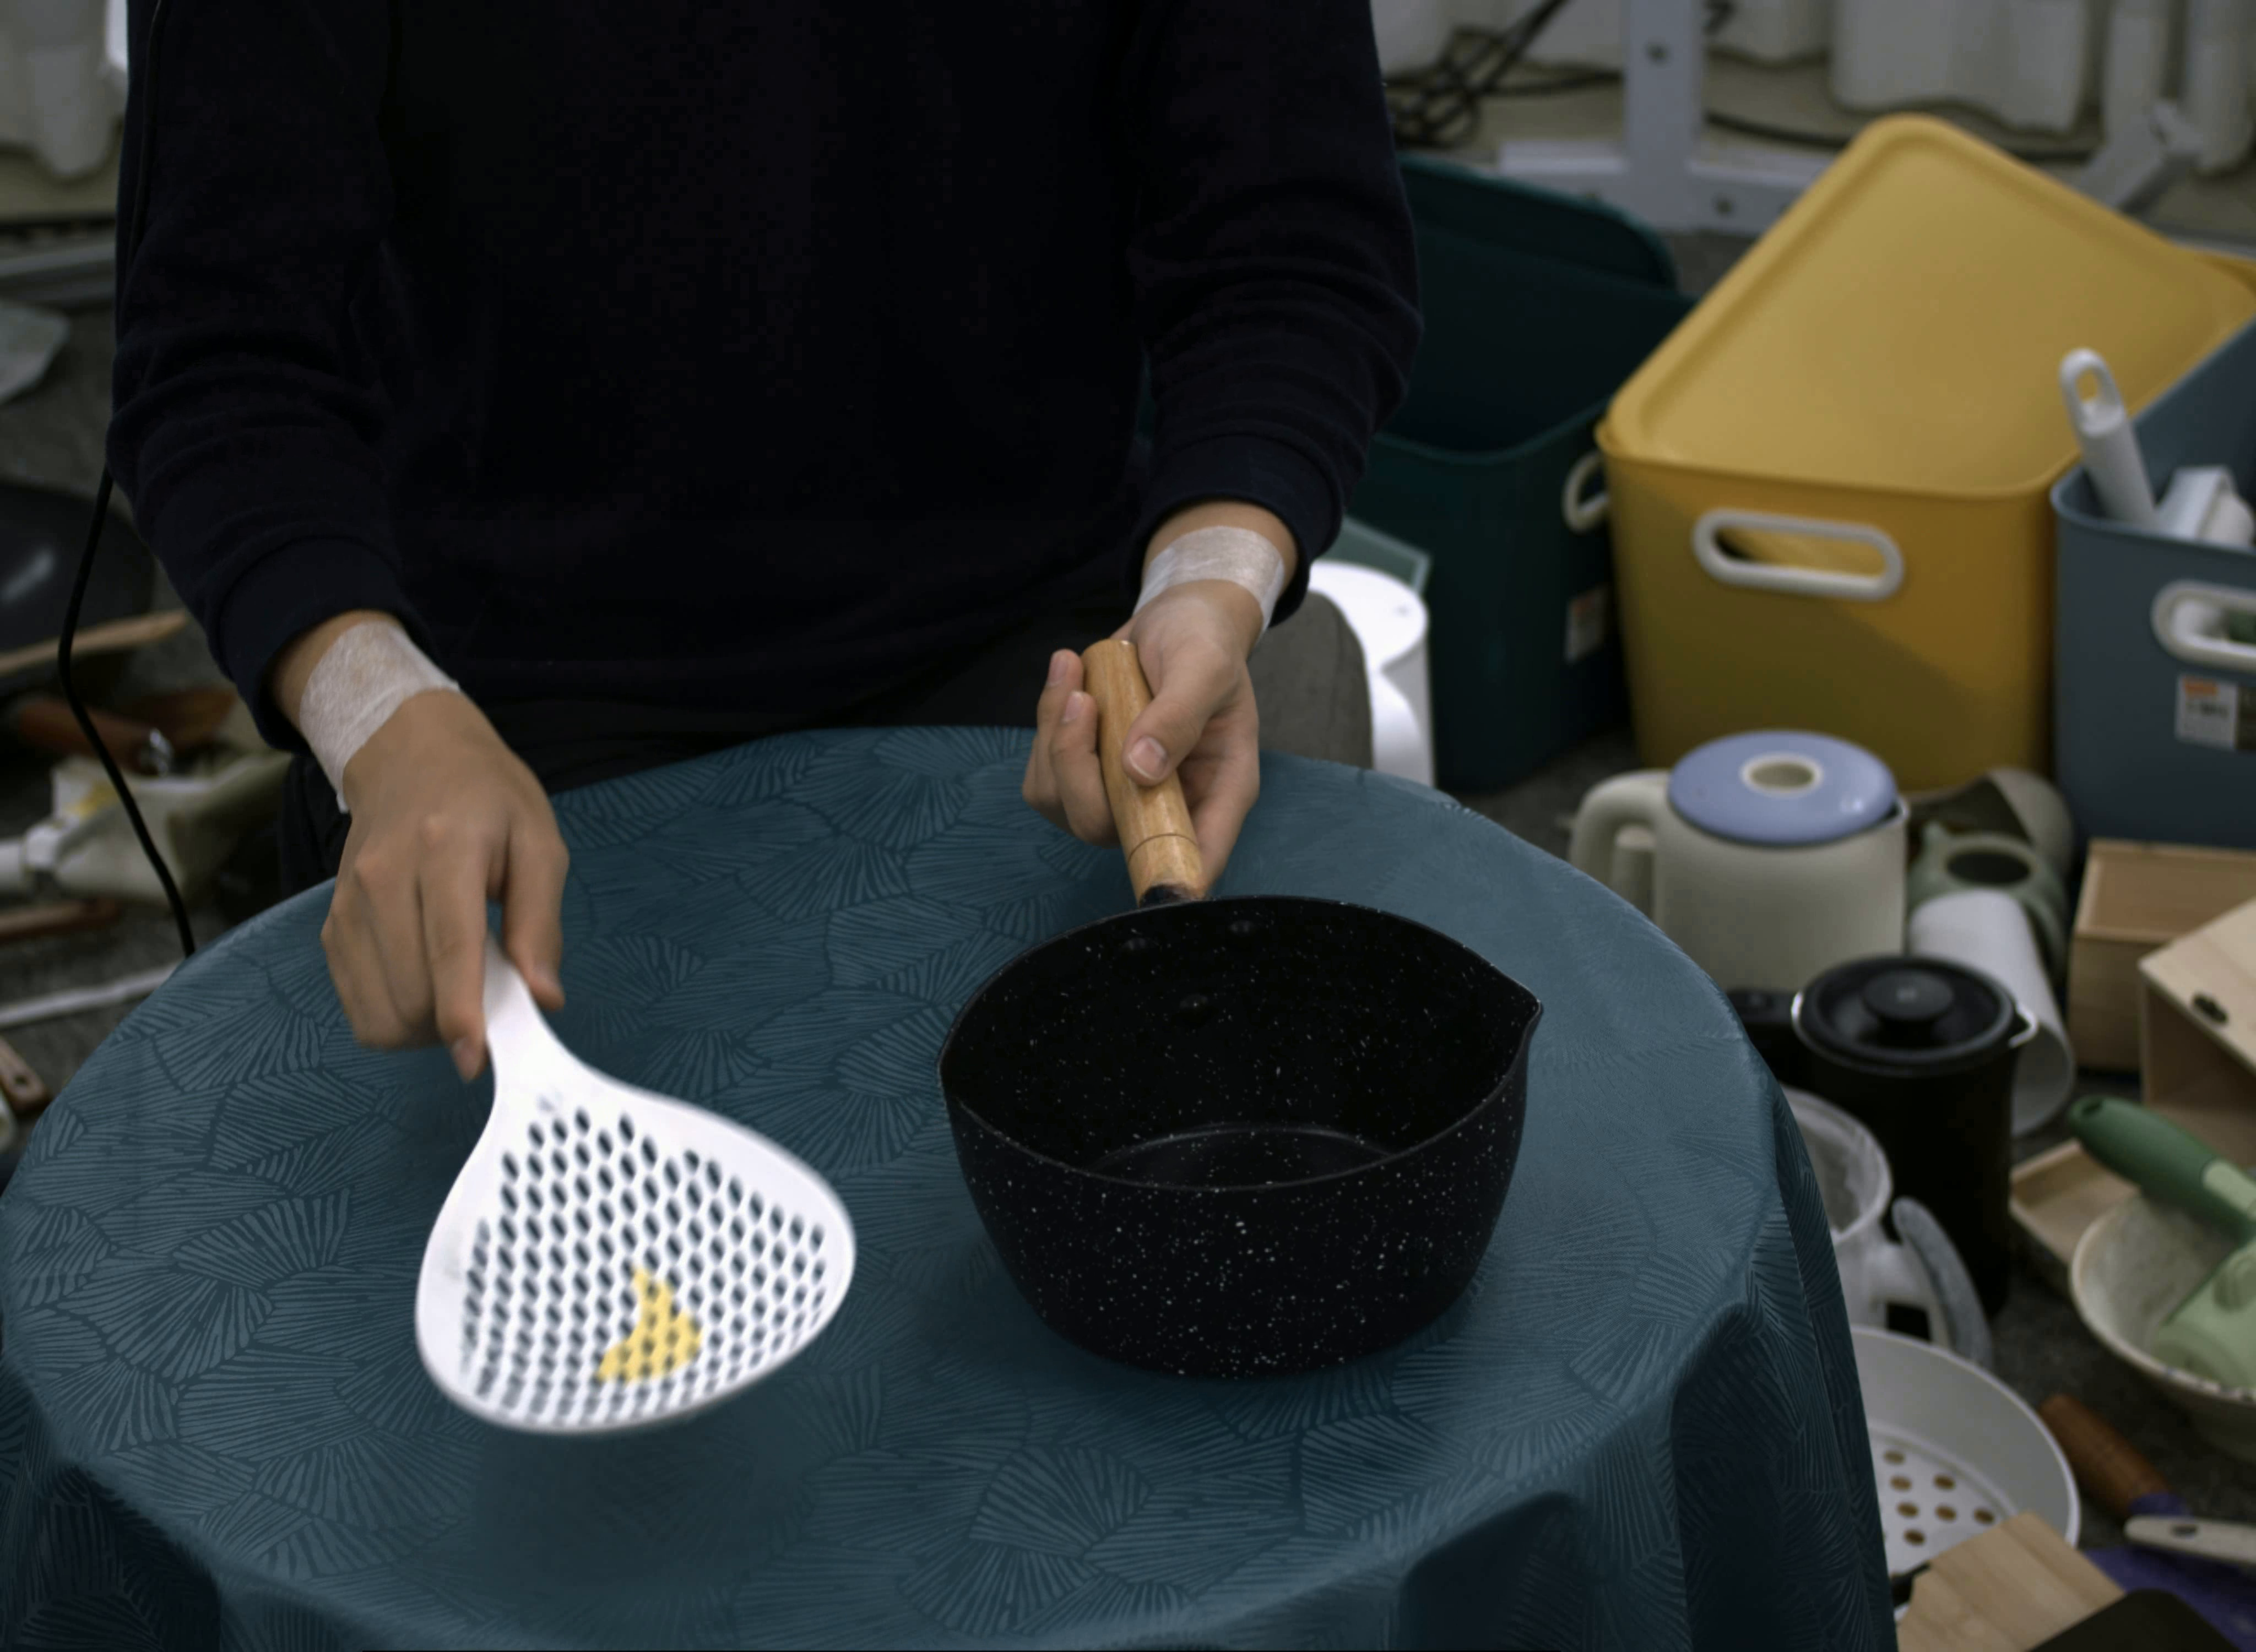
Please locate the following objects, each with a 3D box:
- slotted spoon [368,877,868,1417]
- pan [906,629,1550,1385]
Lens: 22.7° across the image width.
[{"bbox_3d":[-0.185,0.089,1.793,0.137,0.049,0.351,-21,38,-13],"label":"slotted spoon"},{"bbox_3d":[0.021,0.056,1.870,0.207,0.107,0.347,-8,29,-7],"label":"pan"}]
